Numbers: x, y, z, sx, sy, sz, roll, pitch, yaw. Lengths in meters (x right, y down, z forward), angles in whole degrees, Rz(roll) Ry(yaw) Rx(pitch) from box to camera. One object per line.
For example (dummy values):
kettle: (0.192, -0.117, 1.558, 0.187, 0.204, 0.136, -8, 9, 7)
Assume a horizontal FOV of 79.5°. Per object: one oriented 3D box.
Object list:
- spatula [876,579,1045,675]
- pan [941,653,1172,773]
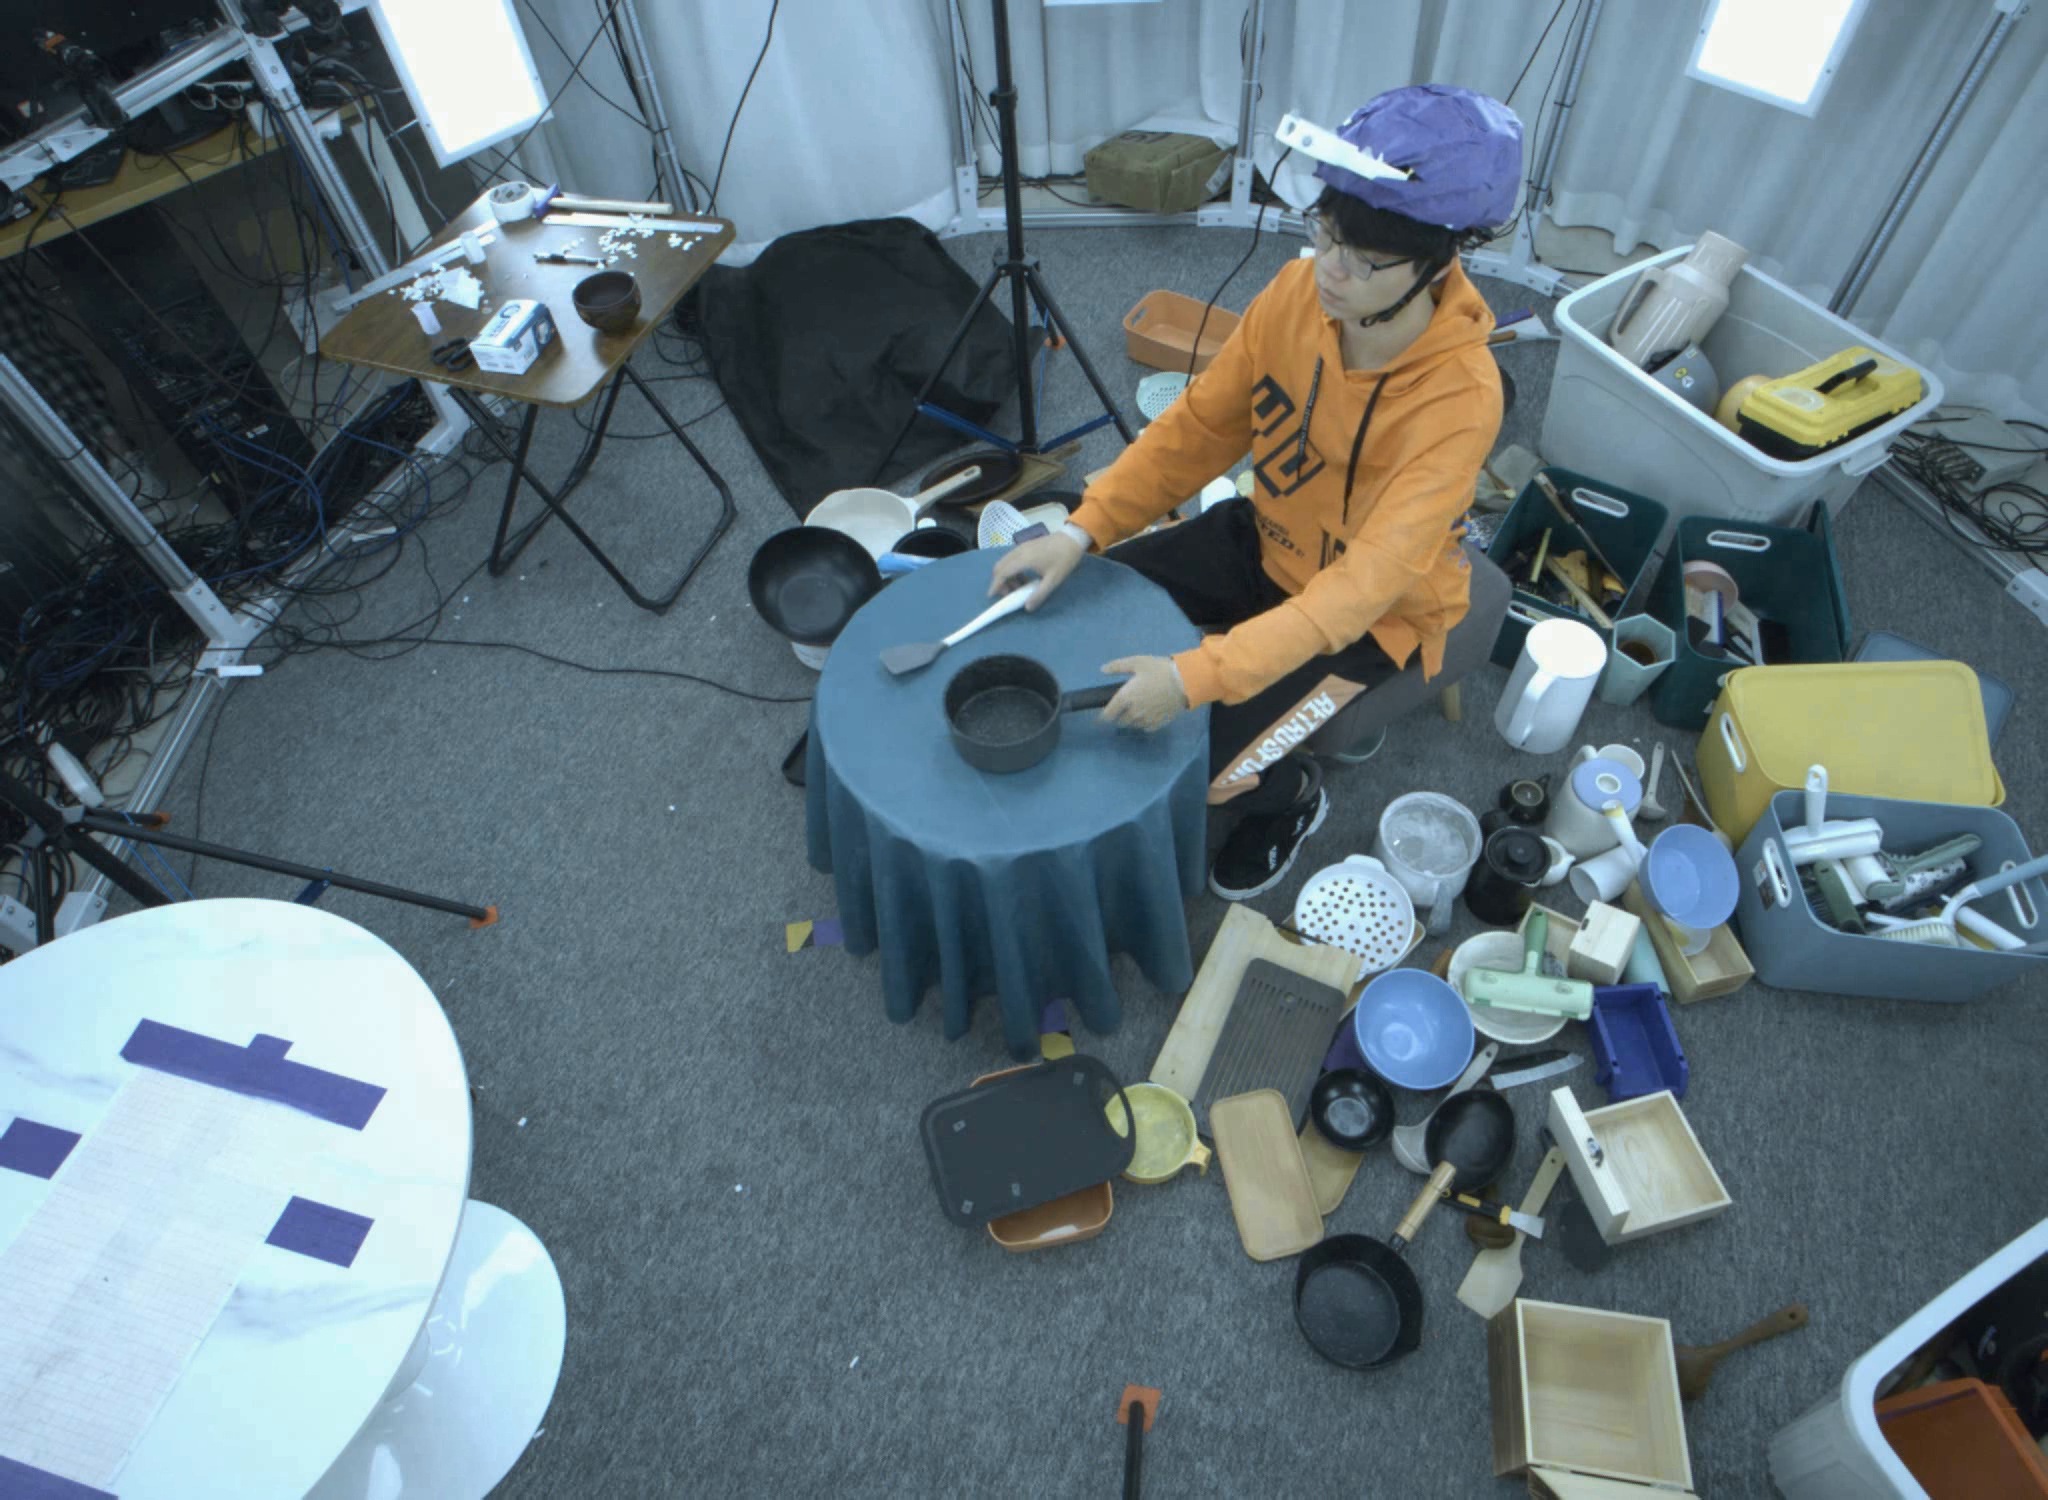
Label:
spatula: (-0.094, -0.190, 1.906, 0.290, 0.032, 0.058, -29, 63, -18)
pan: (0.049, -0.058, 1.774, 0.328, 0.087, 0.170, -3, 55, 2)
